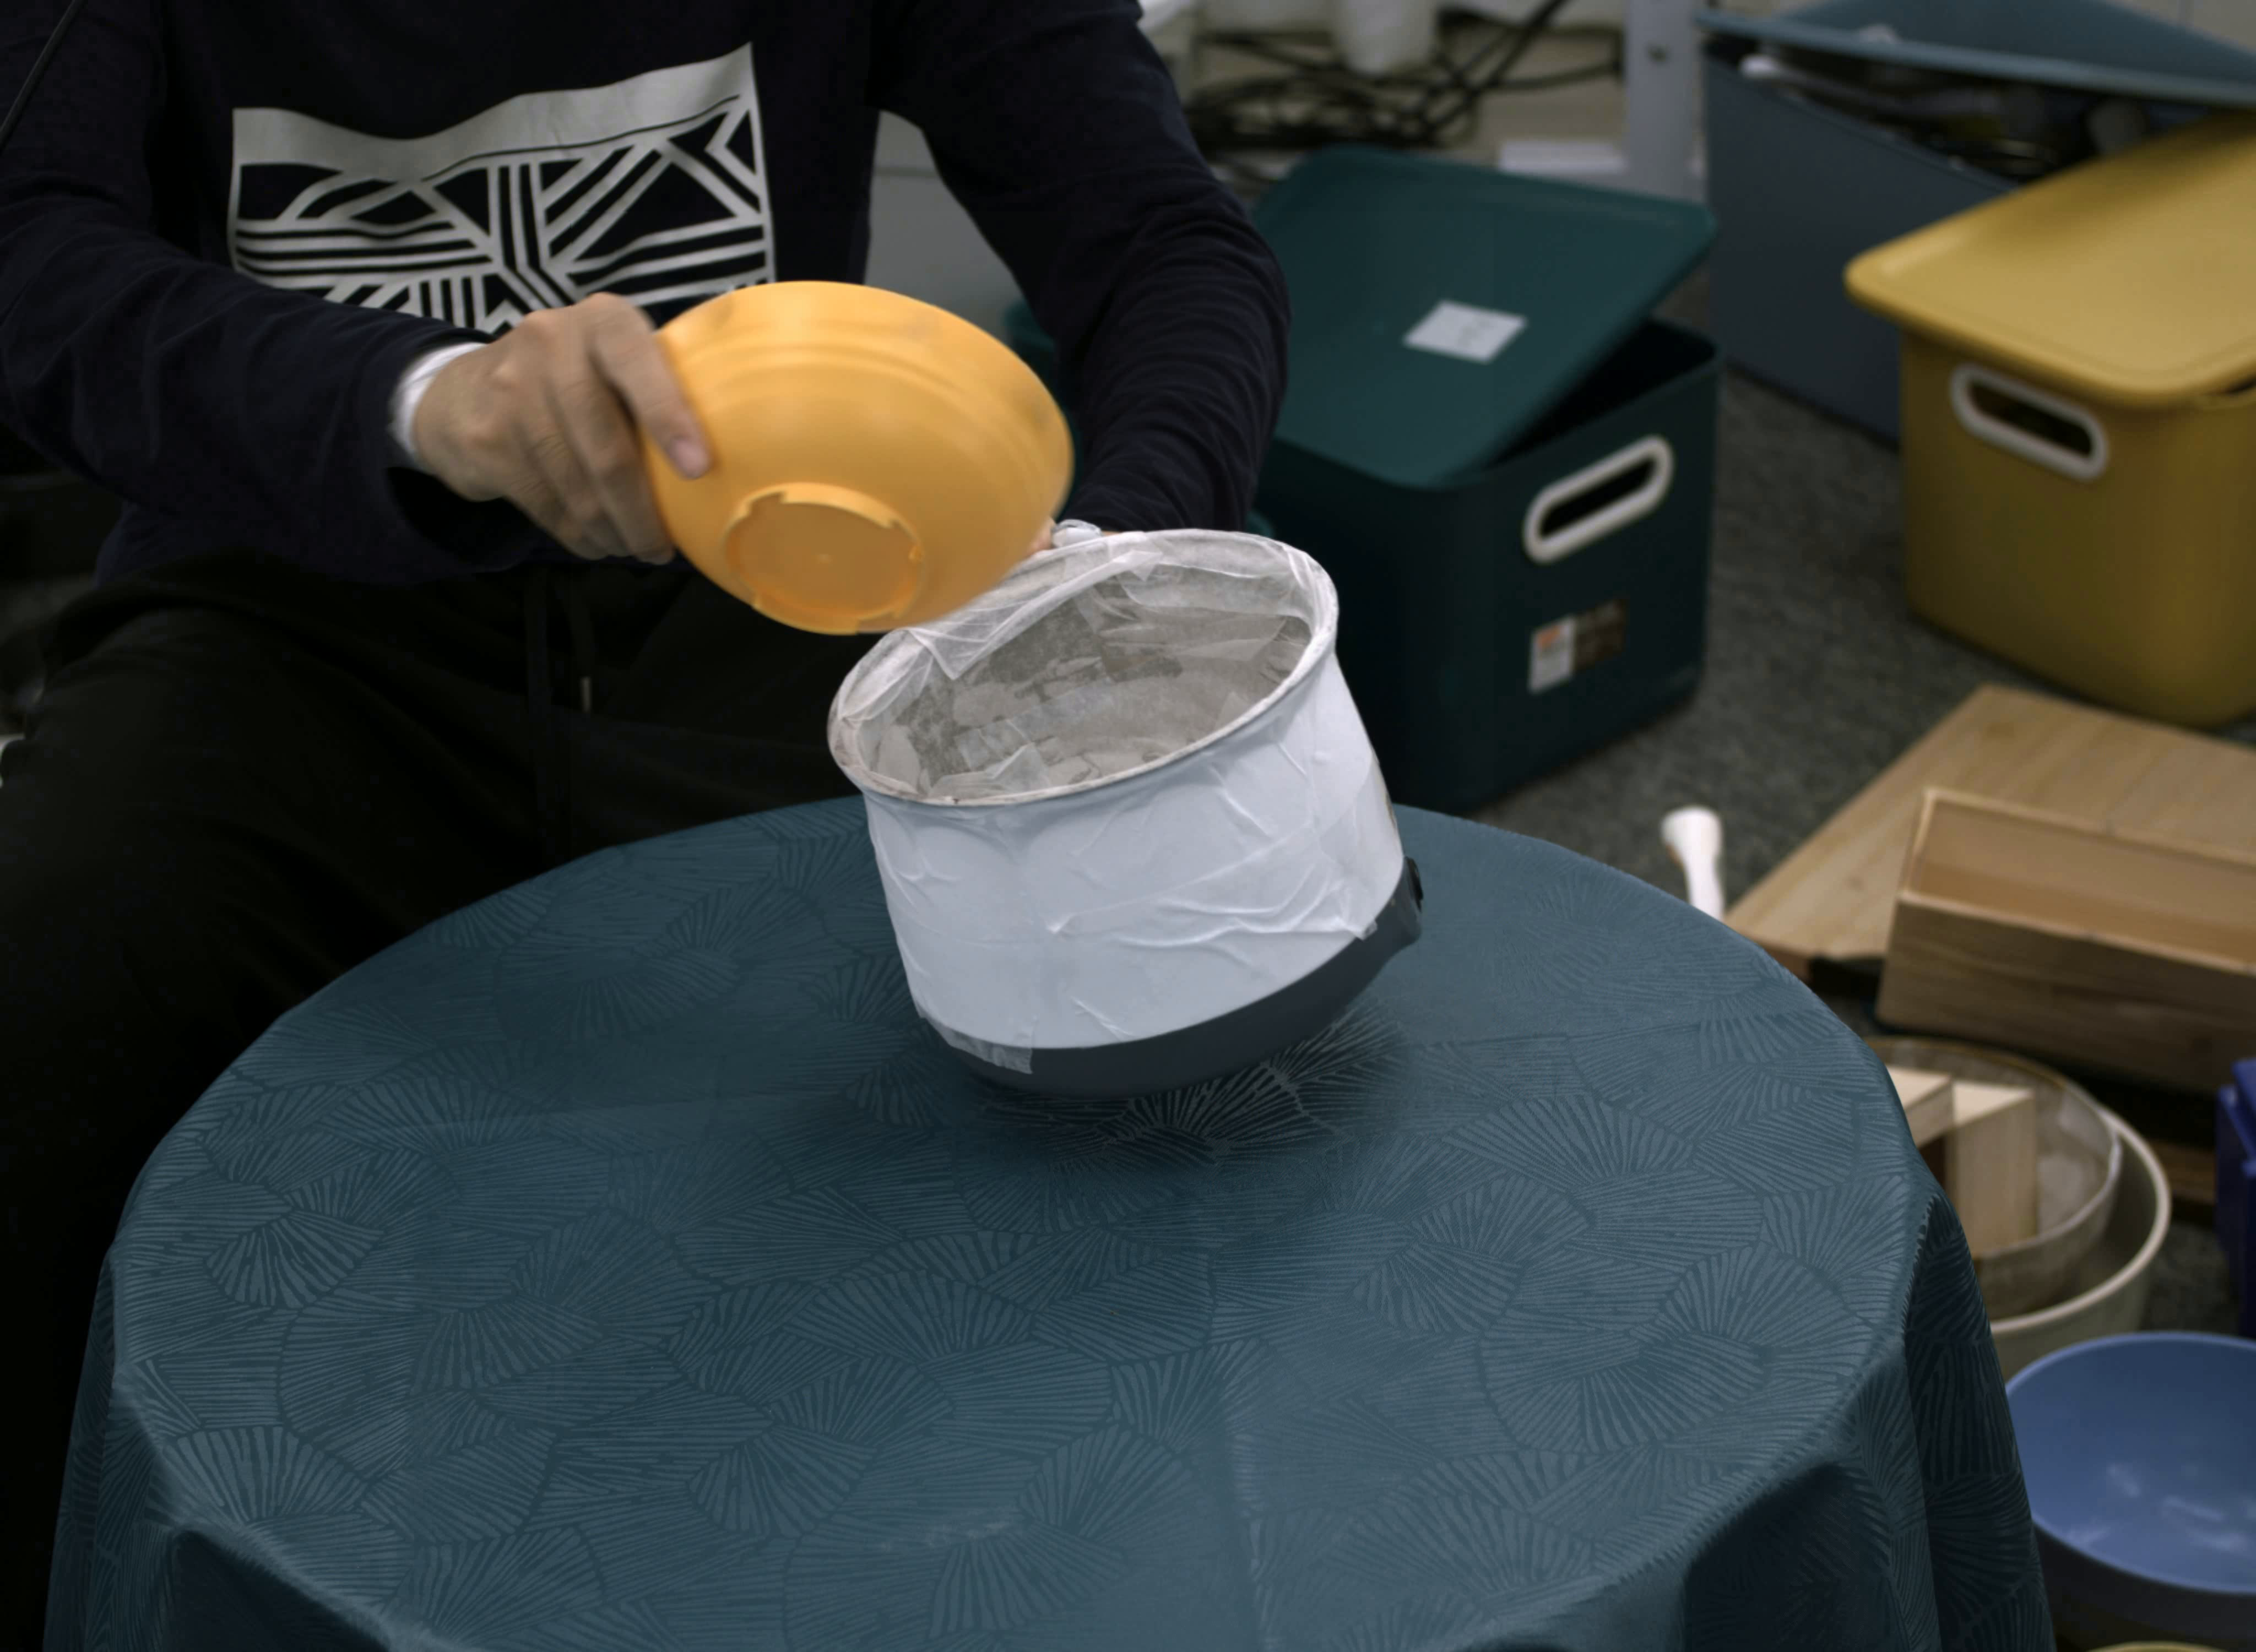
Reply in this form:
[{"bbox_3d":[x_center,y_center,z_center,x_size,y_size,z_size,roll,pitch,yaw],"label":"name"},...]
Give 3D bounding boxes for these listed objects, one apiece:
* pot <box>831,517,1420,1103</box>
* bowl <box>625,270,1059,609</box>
[{"bbox_3d":[-0.001,-0.014,1.923,0.178,0.135,0.237,-13,28,2],"label":"pot"},{"bbox_3d":[-0.097,-0.111,1.808,0.144,0.143,0.061,4,58,12],"label":"bowl"}]
